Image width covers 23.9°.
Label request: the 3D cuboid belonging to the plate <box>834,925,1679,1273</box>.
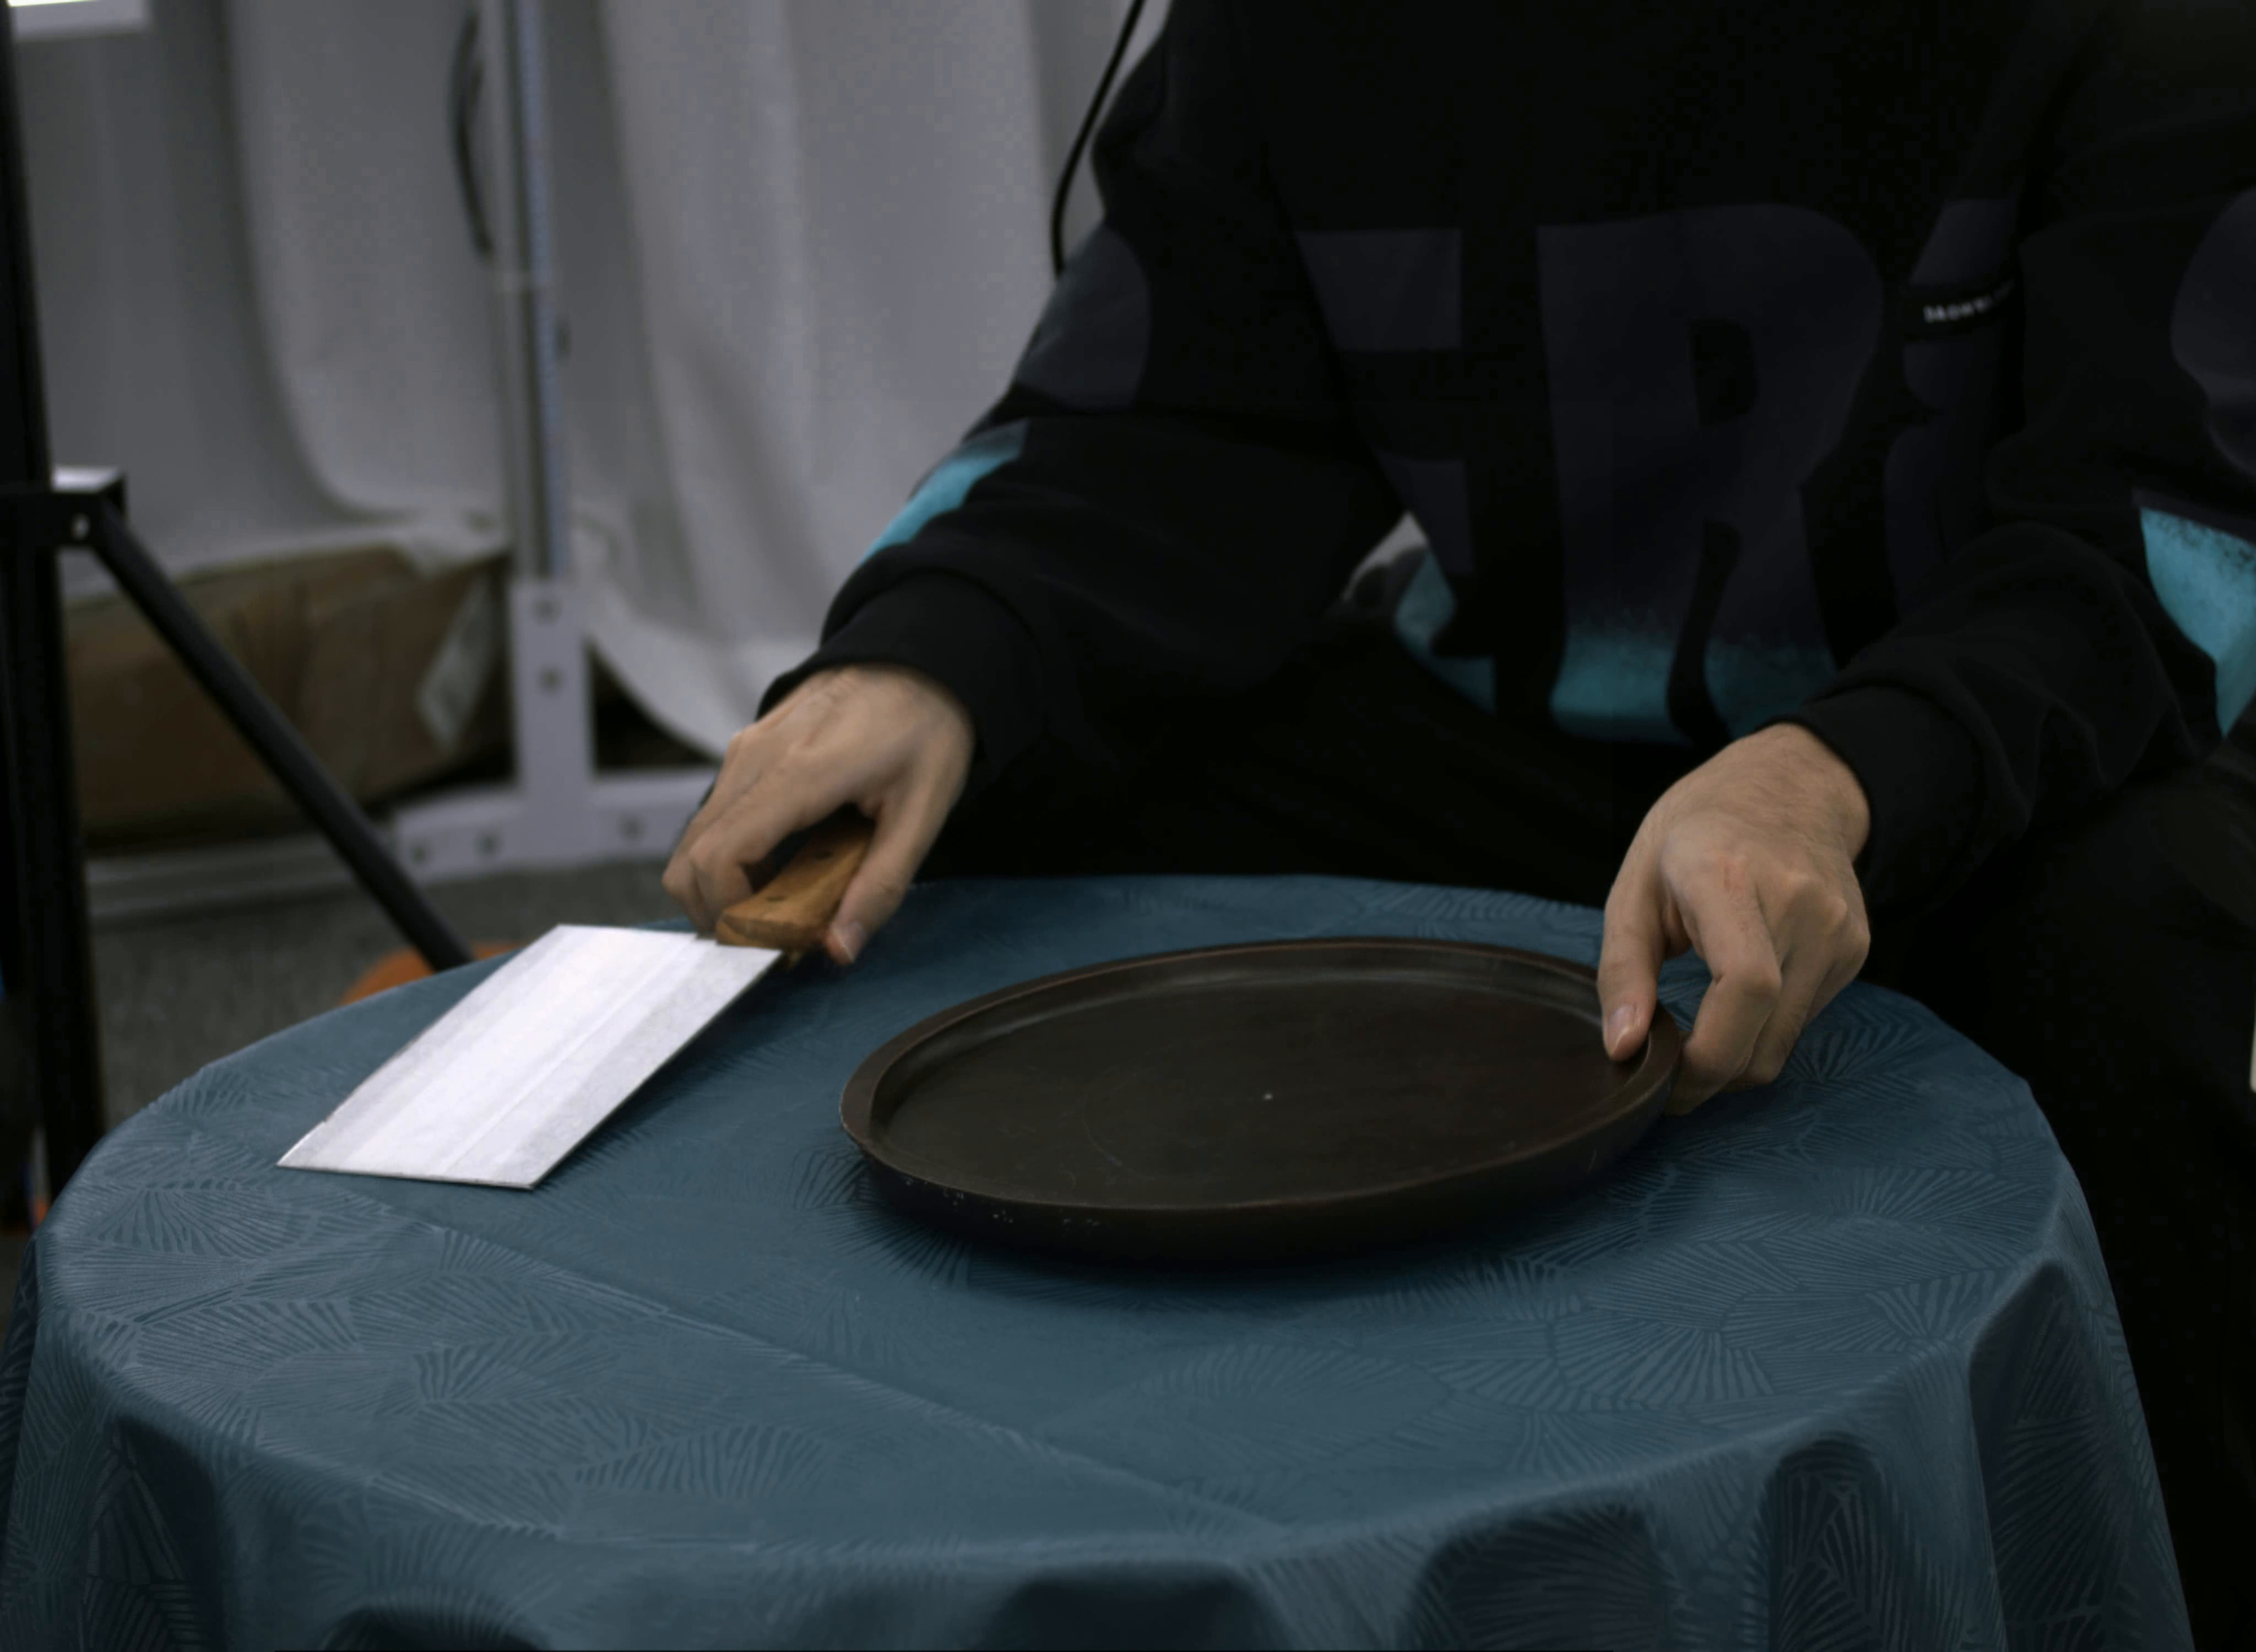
[{"bbox_3d":[0.038,0.082,1.584,0.254,0.029,0.256,-7,16,0],"label":"plate"}]

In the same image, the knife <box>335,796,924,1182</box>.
[{"bbox_3d":[-0.160,0.051,1.730,0.094,0.021,0.302,2,22,23],"label":"knife"}]
